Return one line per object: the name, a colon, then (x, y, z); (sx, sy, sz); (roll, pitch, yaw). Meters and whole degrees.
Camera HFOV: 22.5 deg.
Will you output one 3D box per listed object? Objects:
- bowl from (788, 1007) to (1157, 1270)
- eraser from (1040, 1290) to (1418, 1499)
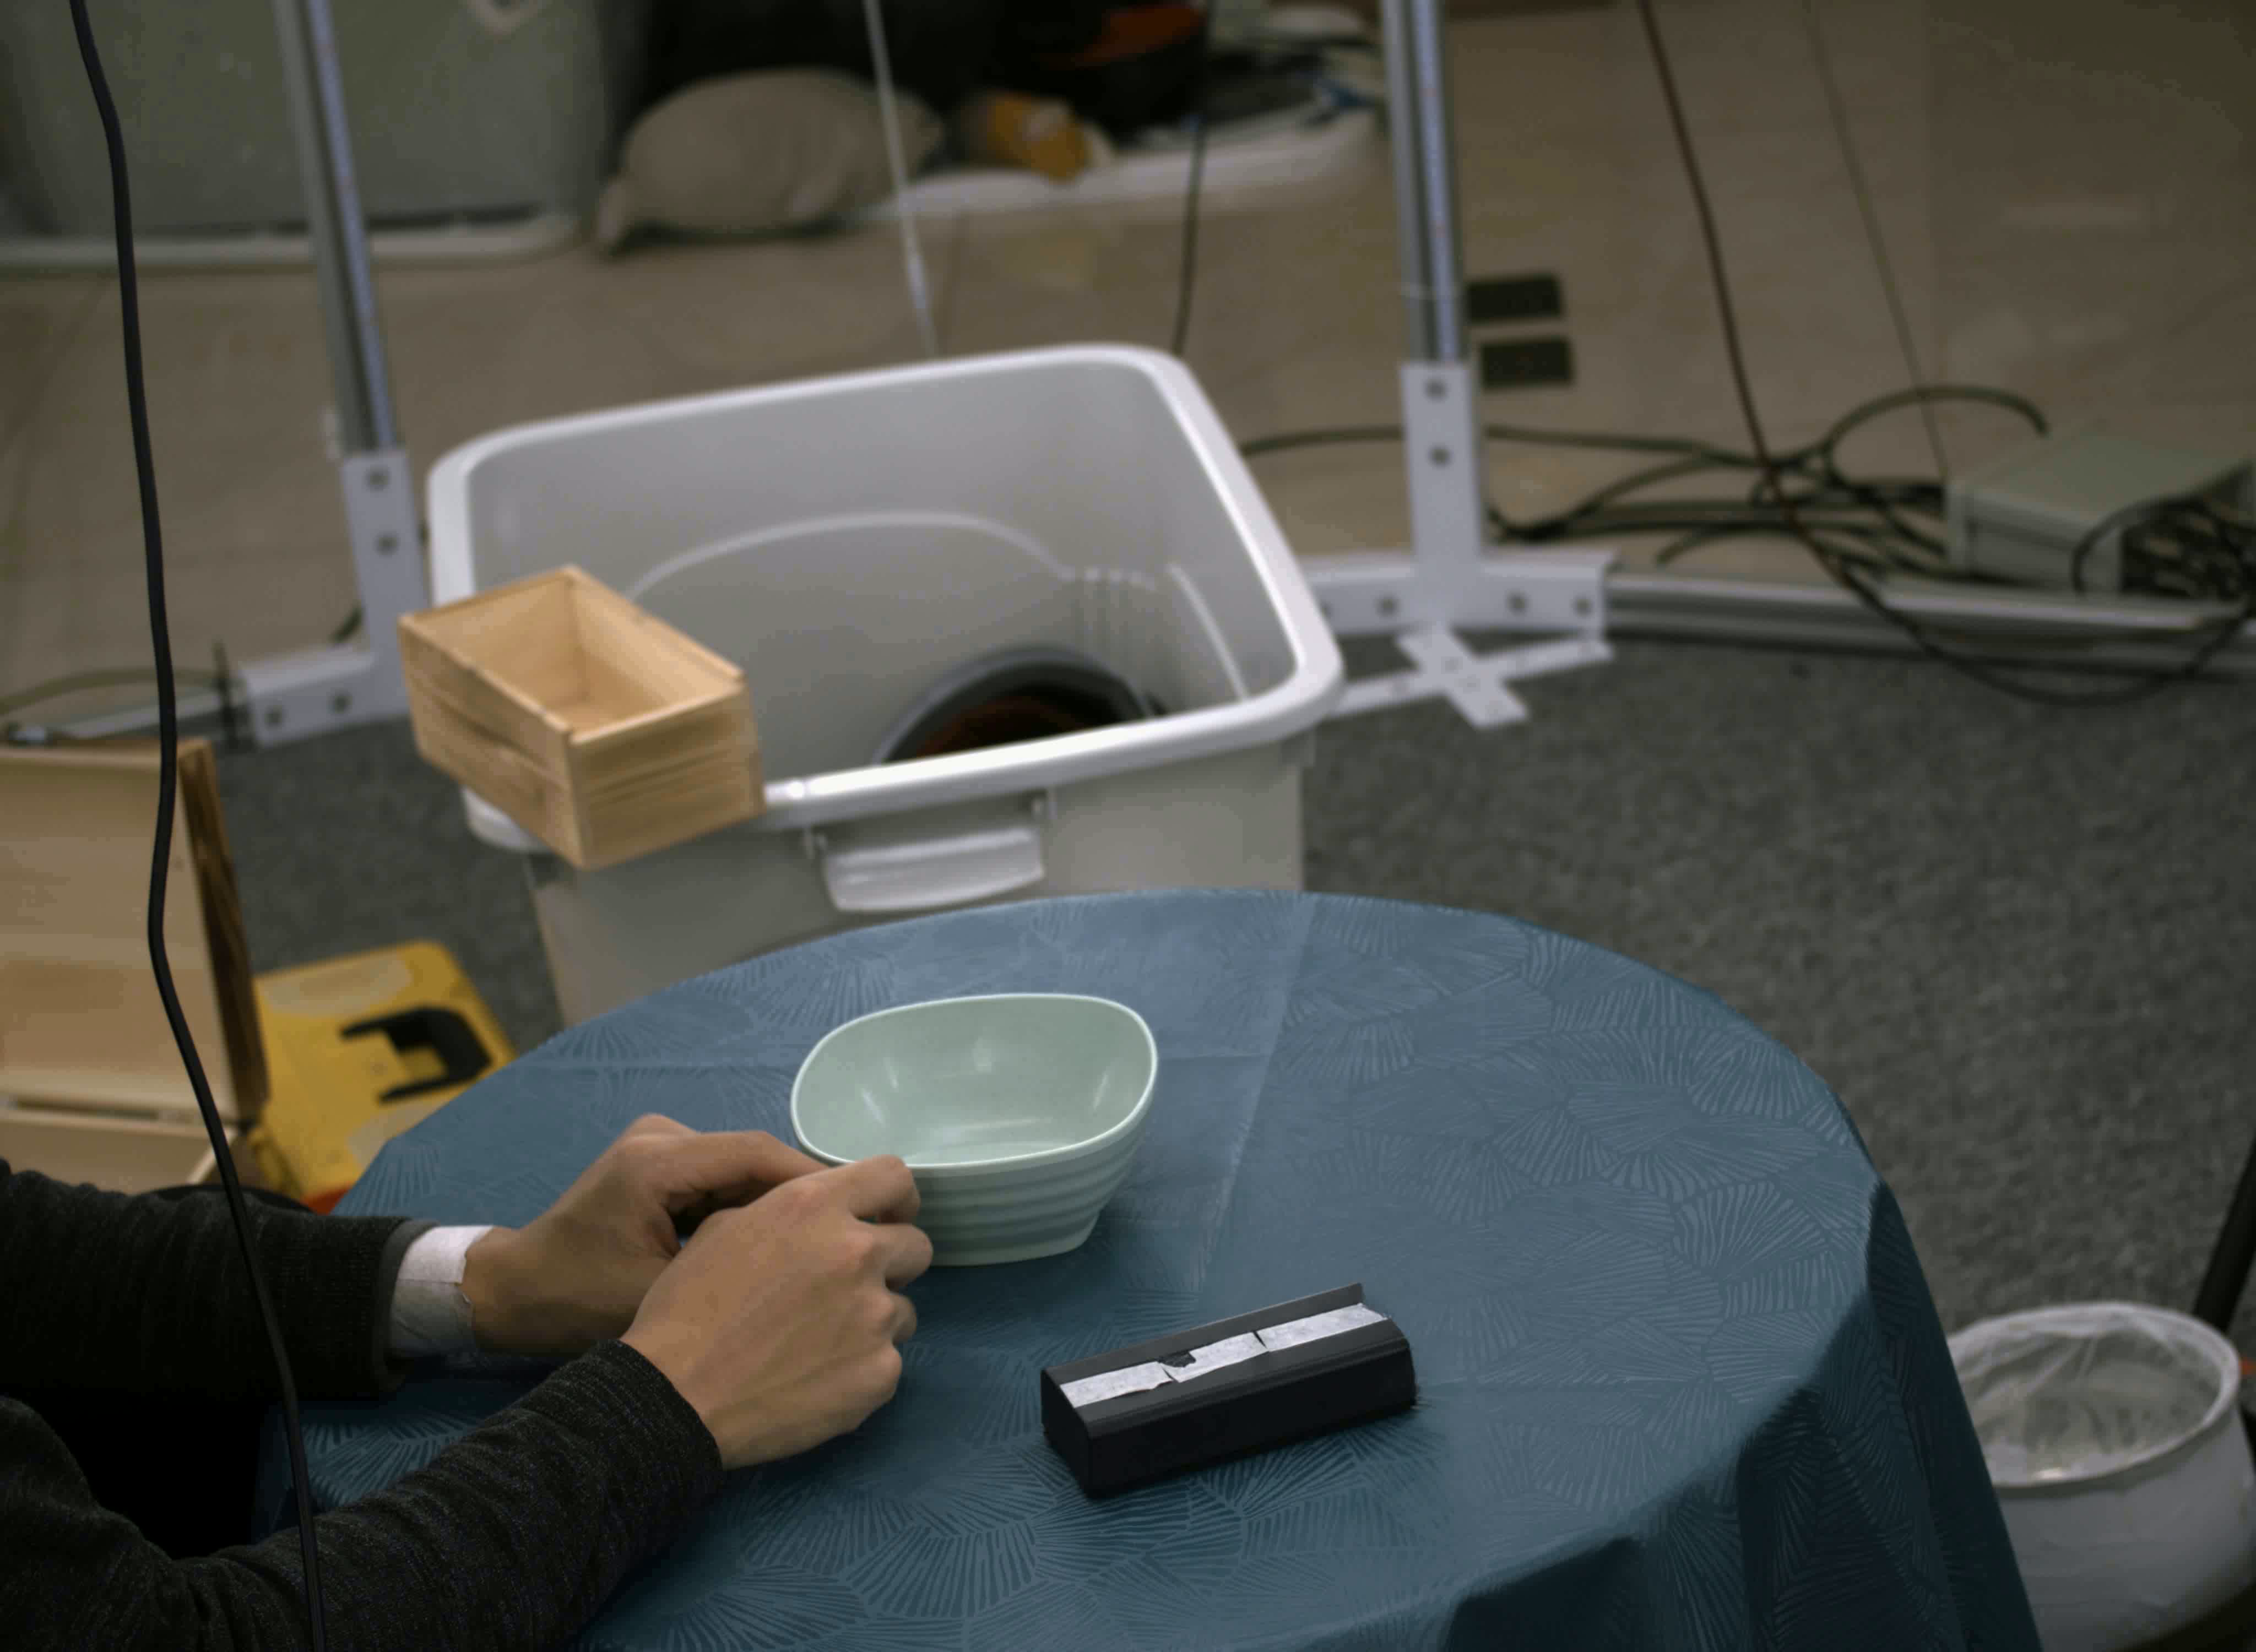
bowl: (-0.056, 0.122, 2.132); (0.151, 0.059, 0.149); (-5, 23, 2)
eraser: (0.036, 0.197, 1.981); (0.125, 0.031, 0.053); (-15, 24, -16)
